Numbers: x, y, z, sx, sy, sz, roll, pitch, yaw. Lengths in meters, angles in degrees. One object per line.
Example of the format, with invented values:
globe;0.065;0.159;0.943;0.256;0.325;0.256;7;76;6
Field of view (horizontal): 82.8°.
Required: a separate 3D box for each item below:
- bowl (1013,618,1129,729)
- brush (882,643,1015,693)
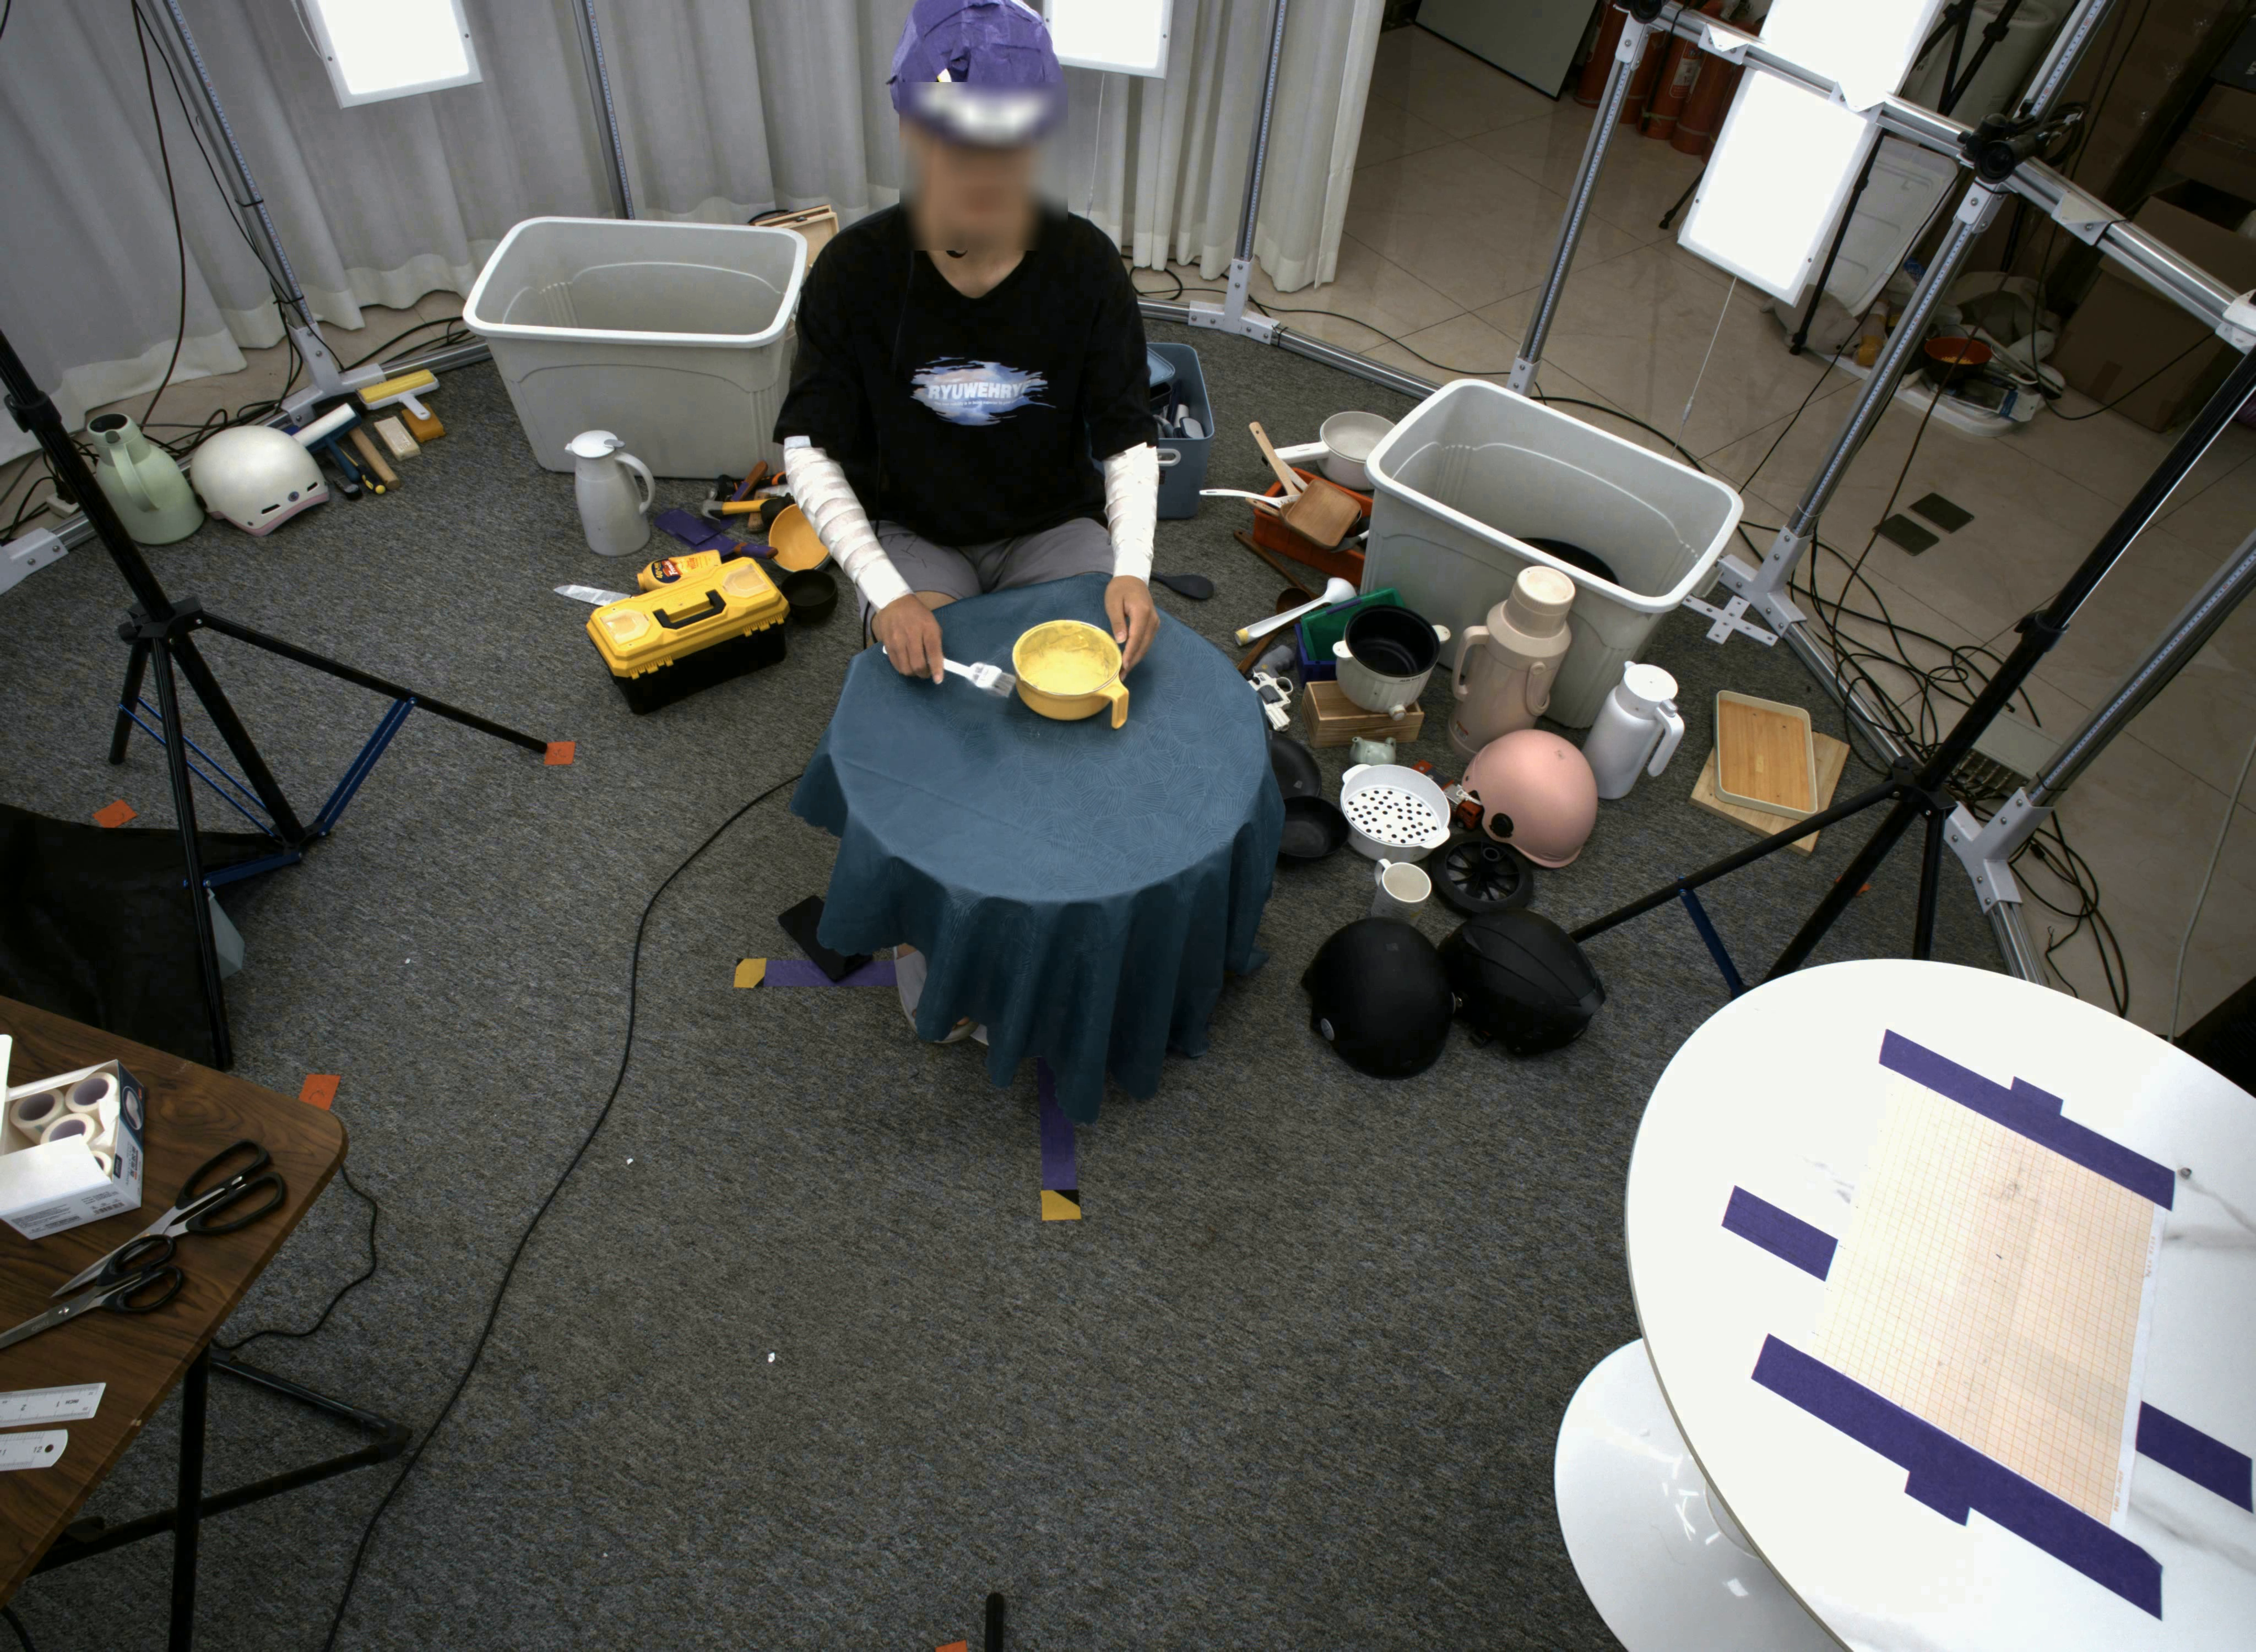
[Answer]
bowl;-0.076;-0.209;1.804;0.181;0.072;0.155;33;51;21
brush;-0.249;-0.222;1.793;0.246;0.049;0.034;17;89;40
